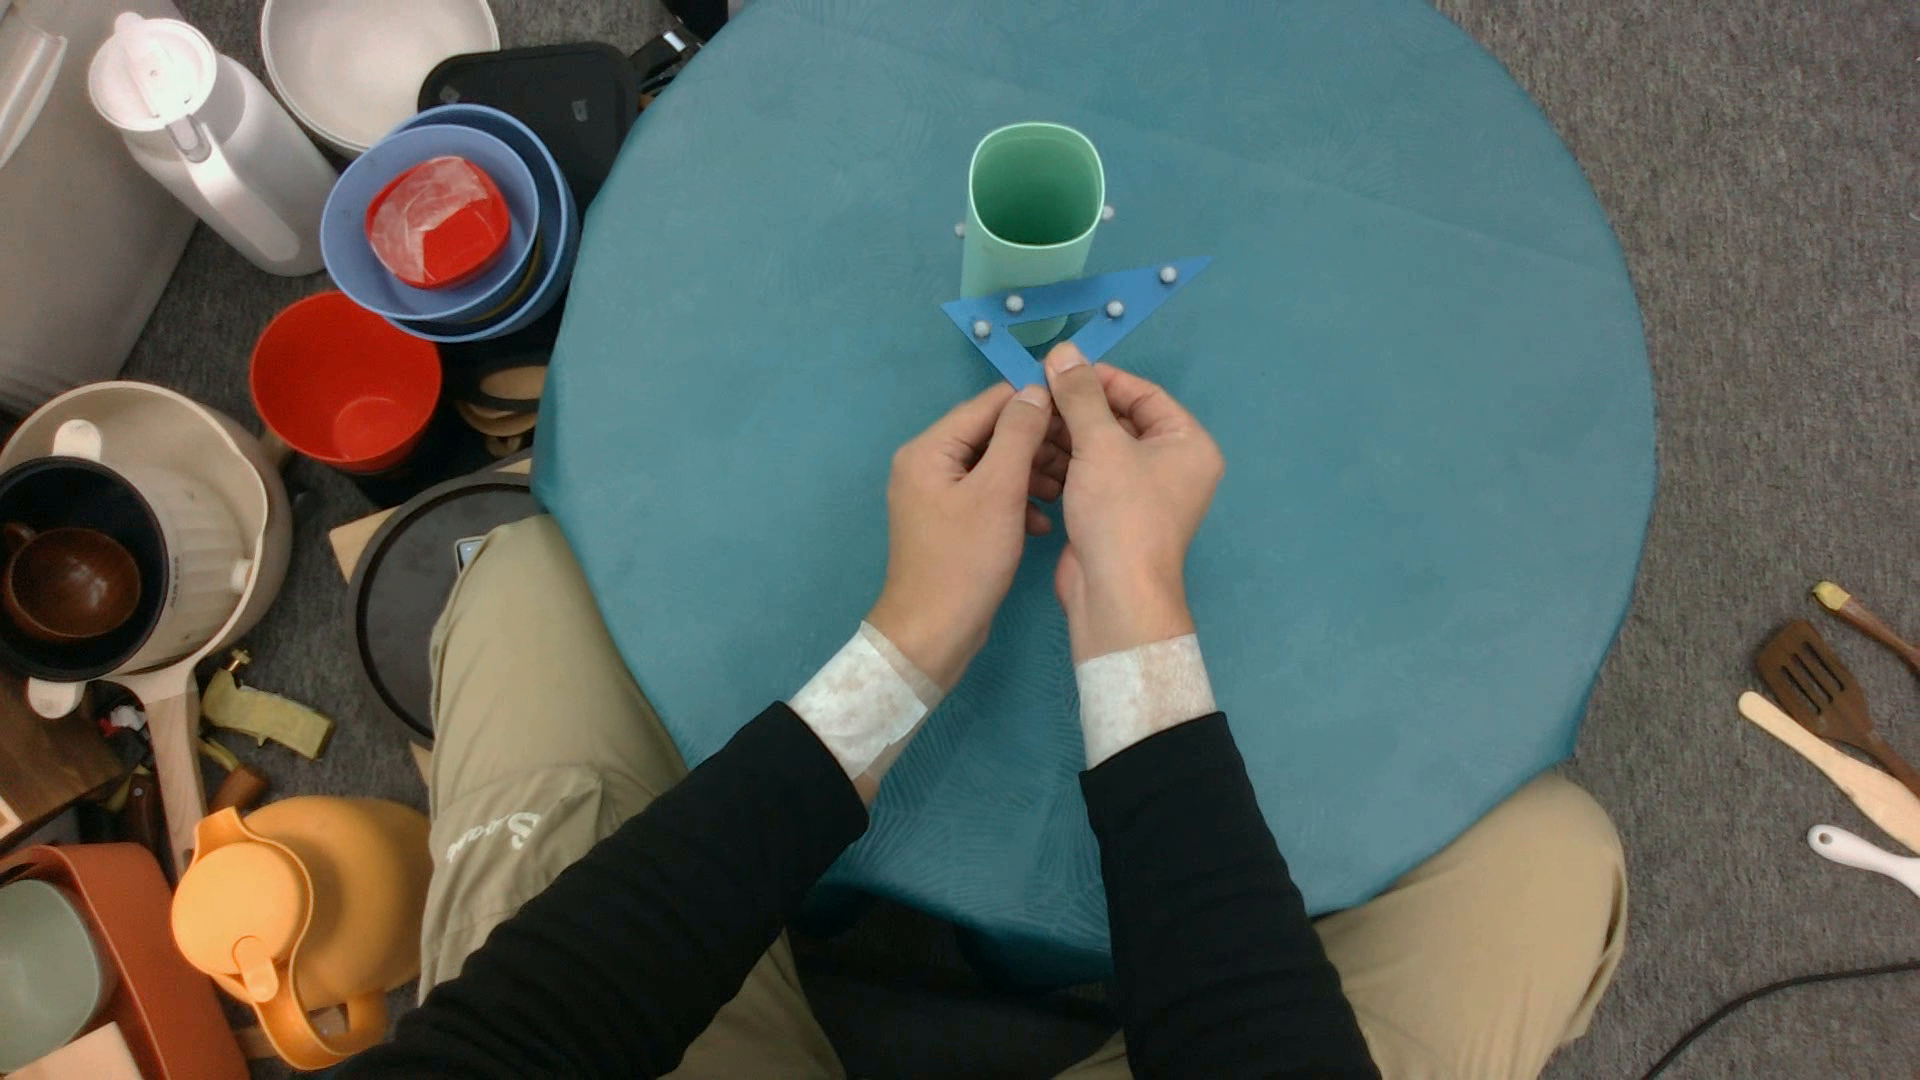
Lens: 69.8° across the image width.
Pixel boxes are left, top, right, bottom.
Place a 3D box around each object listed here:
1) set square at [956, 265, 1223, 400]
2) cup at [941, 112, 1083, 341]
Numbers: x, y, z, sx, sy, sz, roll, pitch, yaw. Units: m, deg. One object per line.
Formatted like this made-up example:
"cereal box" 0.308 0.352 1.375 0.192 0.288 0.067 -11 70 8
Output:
"set square" 0.067 -0.101 0.665 0.132 0.006 0.061 -8 77 -7
"cup" 0.023 -0.153 0.699 0.067 0.132 0.067 1 75 -3
